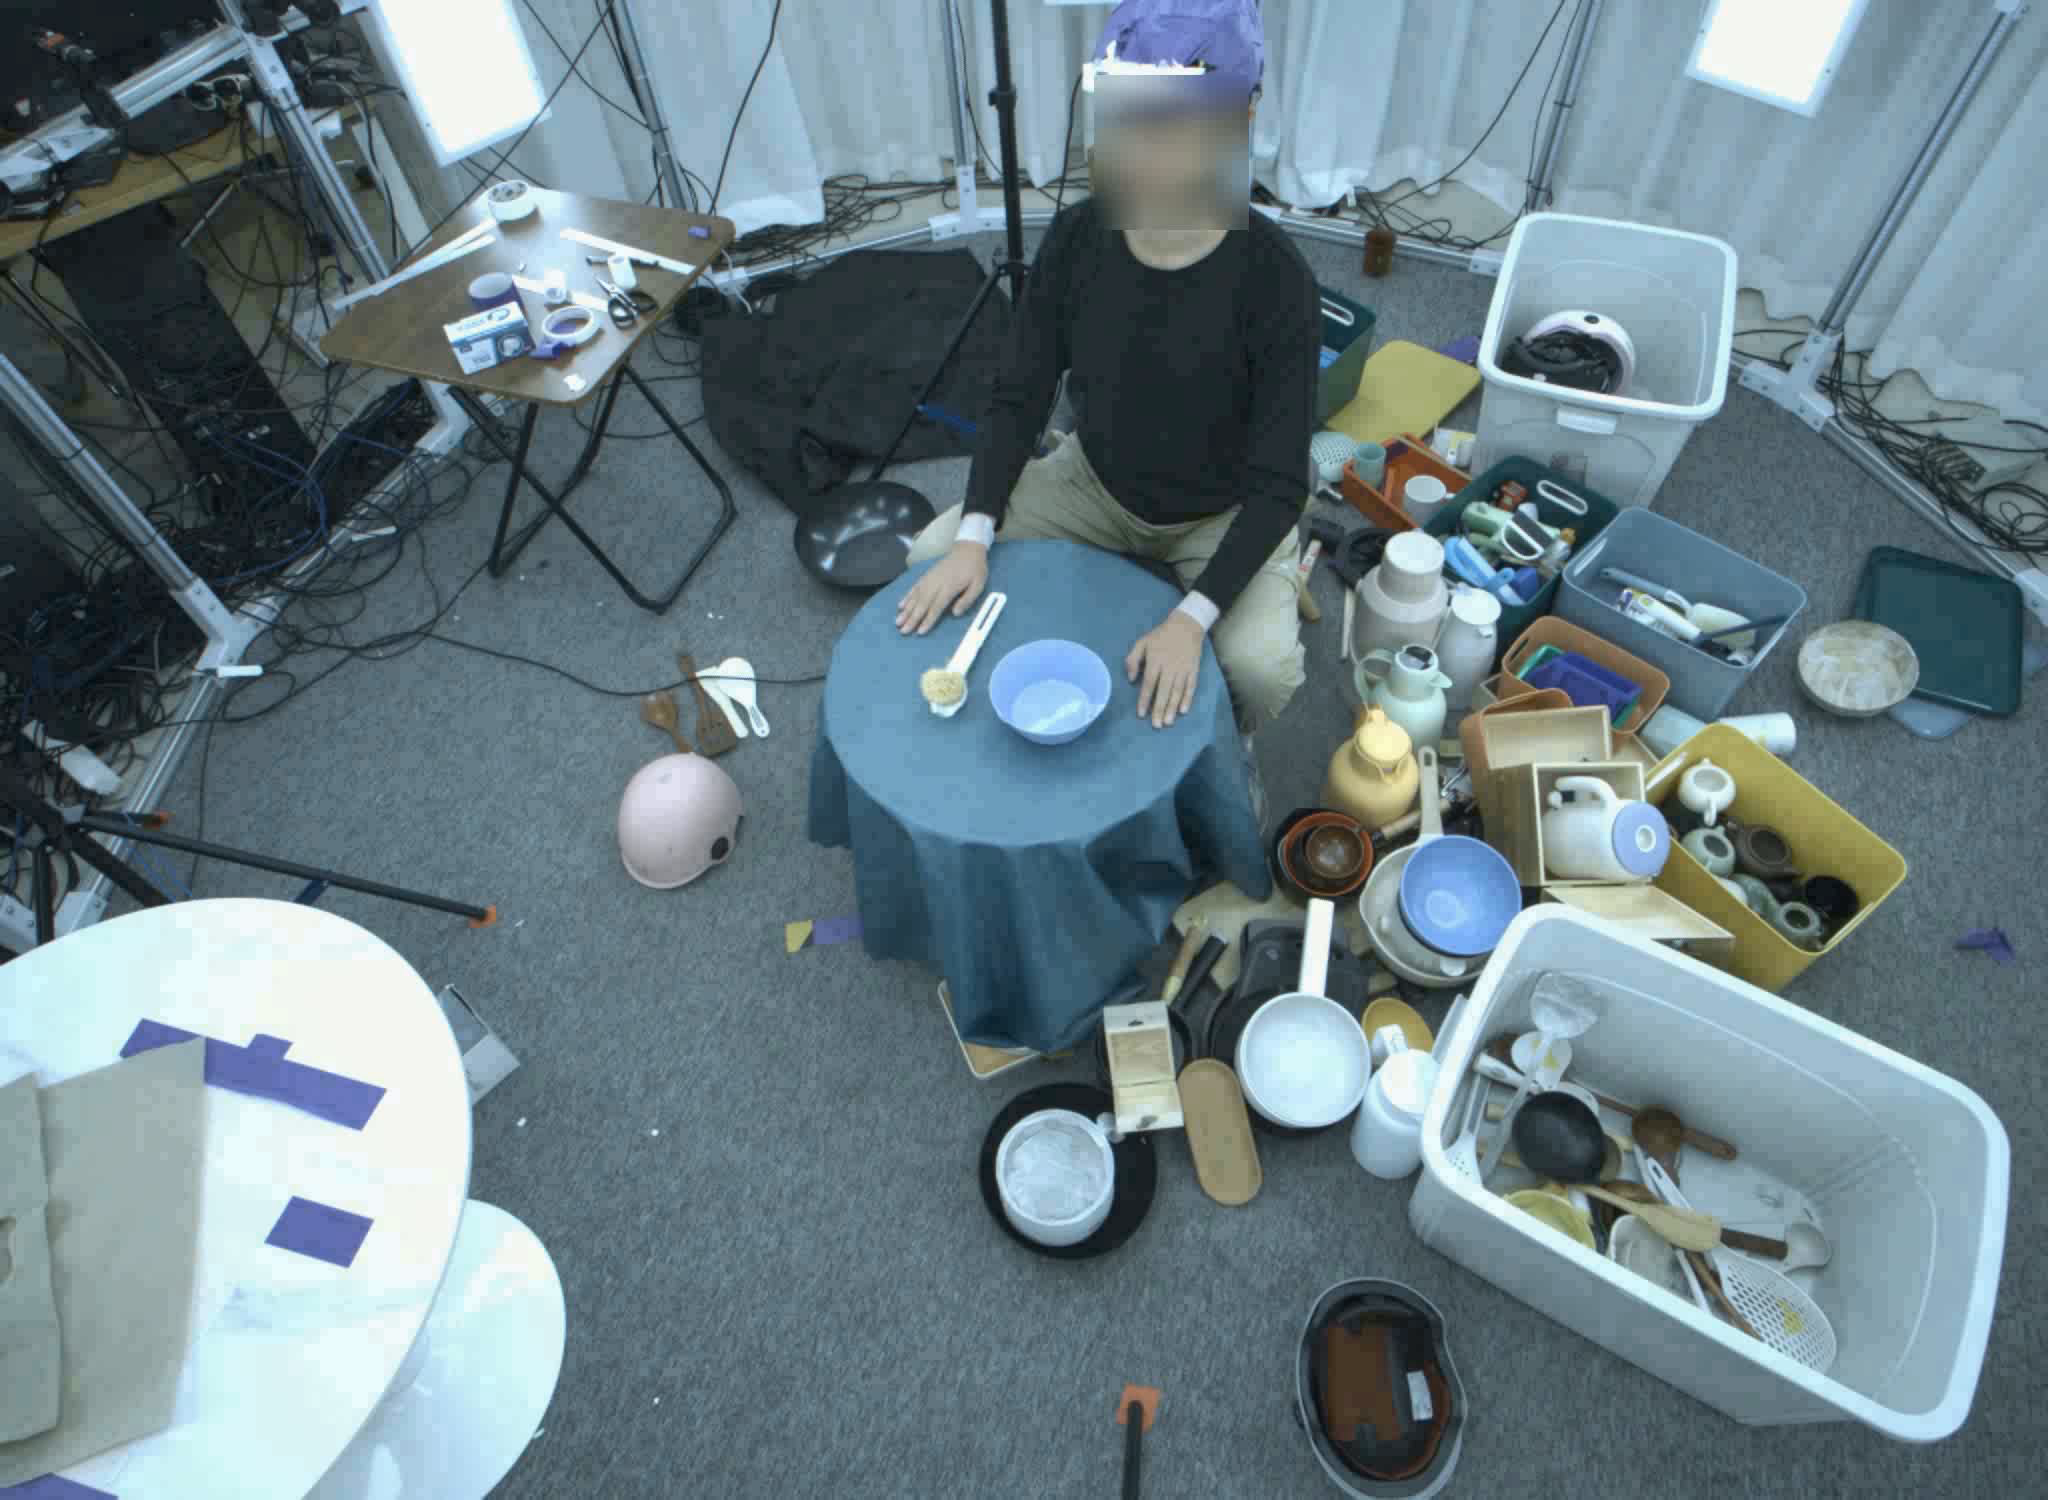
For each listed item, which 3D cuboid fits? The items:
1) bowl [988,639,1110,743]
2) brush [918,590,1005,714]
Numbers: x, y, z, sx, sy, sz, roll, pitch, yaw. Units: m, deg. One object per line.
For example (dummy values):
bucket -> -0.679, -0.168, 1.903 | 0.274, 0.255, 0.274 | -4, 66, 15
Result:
bowl -> 0.037, -0.076, 1.796 | 0.176, 0.071, 0.174 | 0, 54, 1
brush -> -0.088, -0.168, 1.876 | 0.068, 0.056, 0.266 | 18, 57, 10
